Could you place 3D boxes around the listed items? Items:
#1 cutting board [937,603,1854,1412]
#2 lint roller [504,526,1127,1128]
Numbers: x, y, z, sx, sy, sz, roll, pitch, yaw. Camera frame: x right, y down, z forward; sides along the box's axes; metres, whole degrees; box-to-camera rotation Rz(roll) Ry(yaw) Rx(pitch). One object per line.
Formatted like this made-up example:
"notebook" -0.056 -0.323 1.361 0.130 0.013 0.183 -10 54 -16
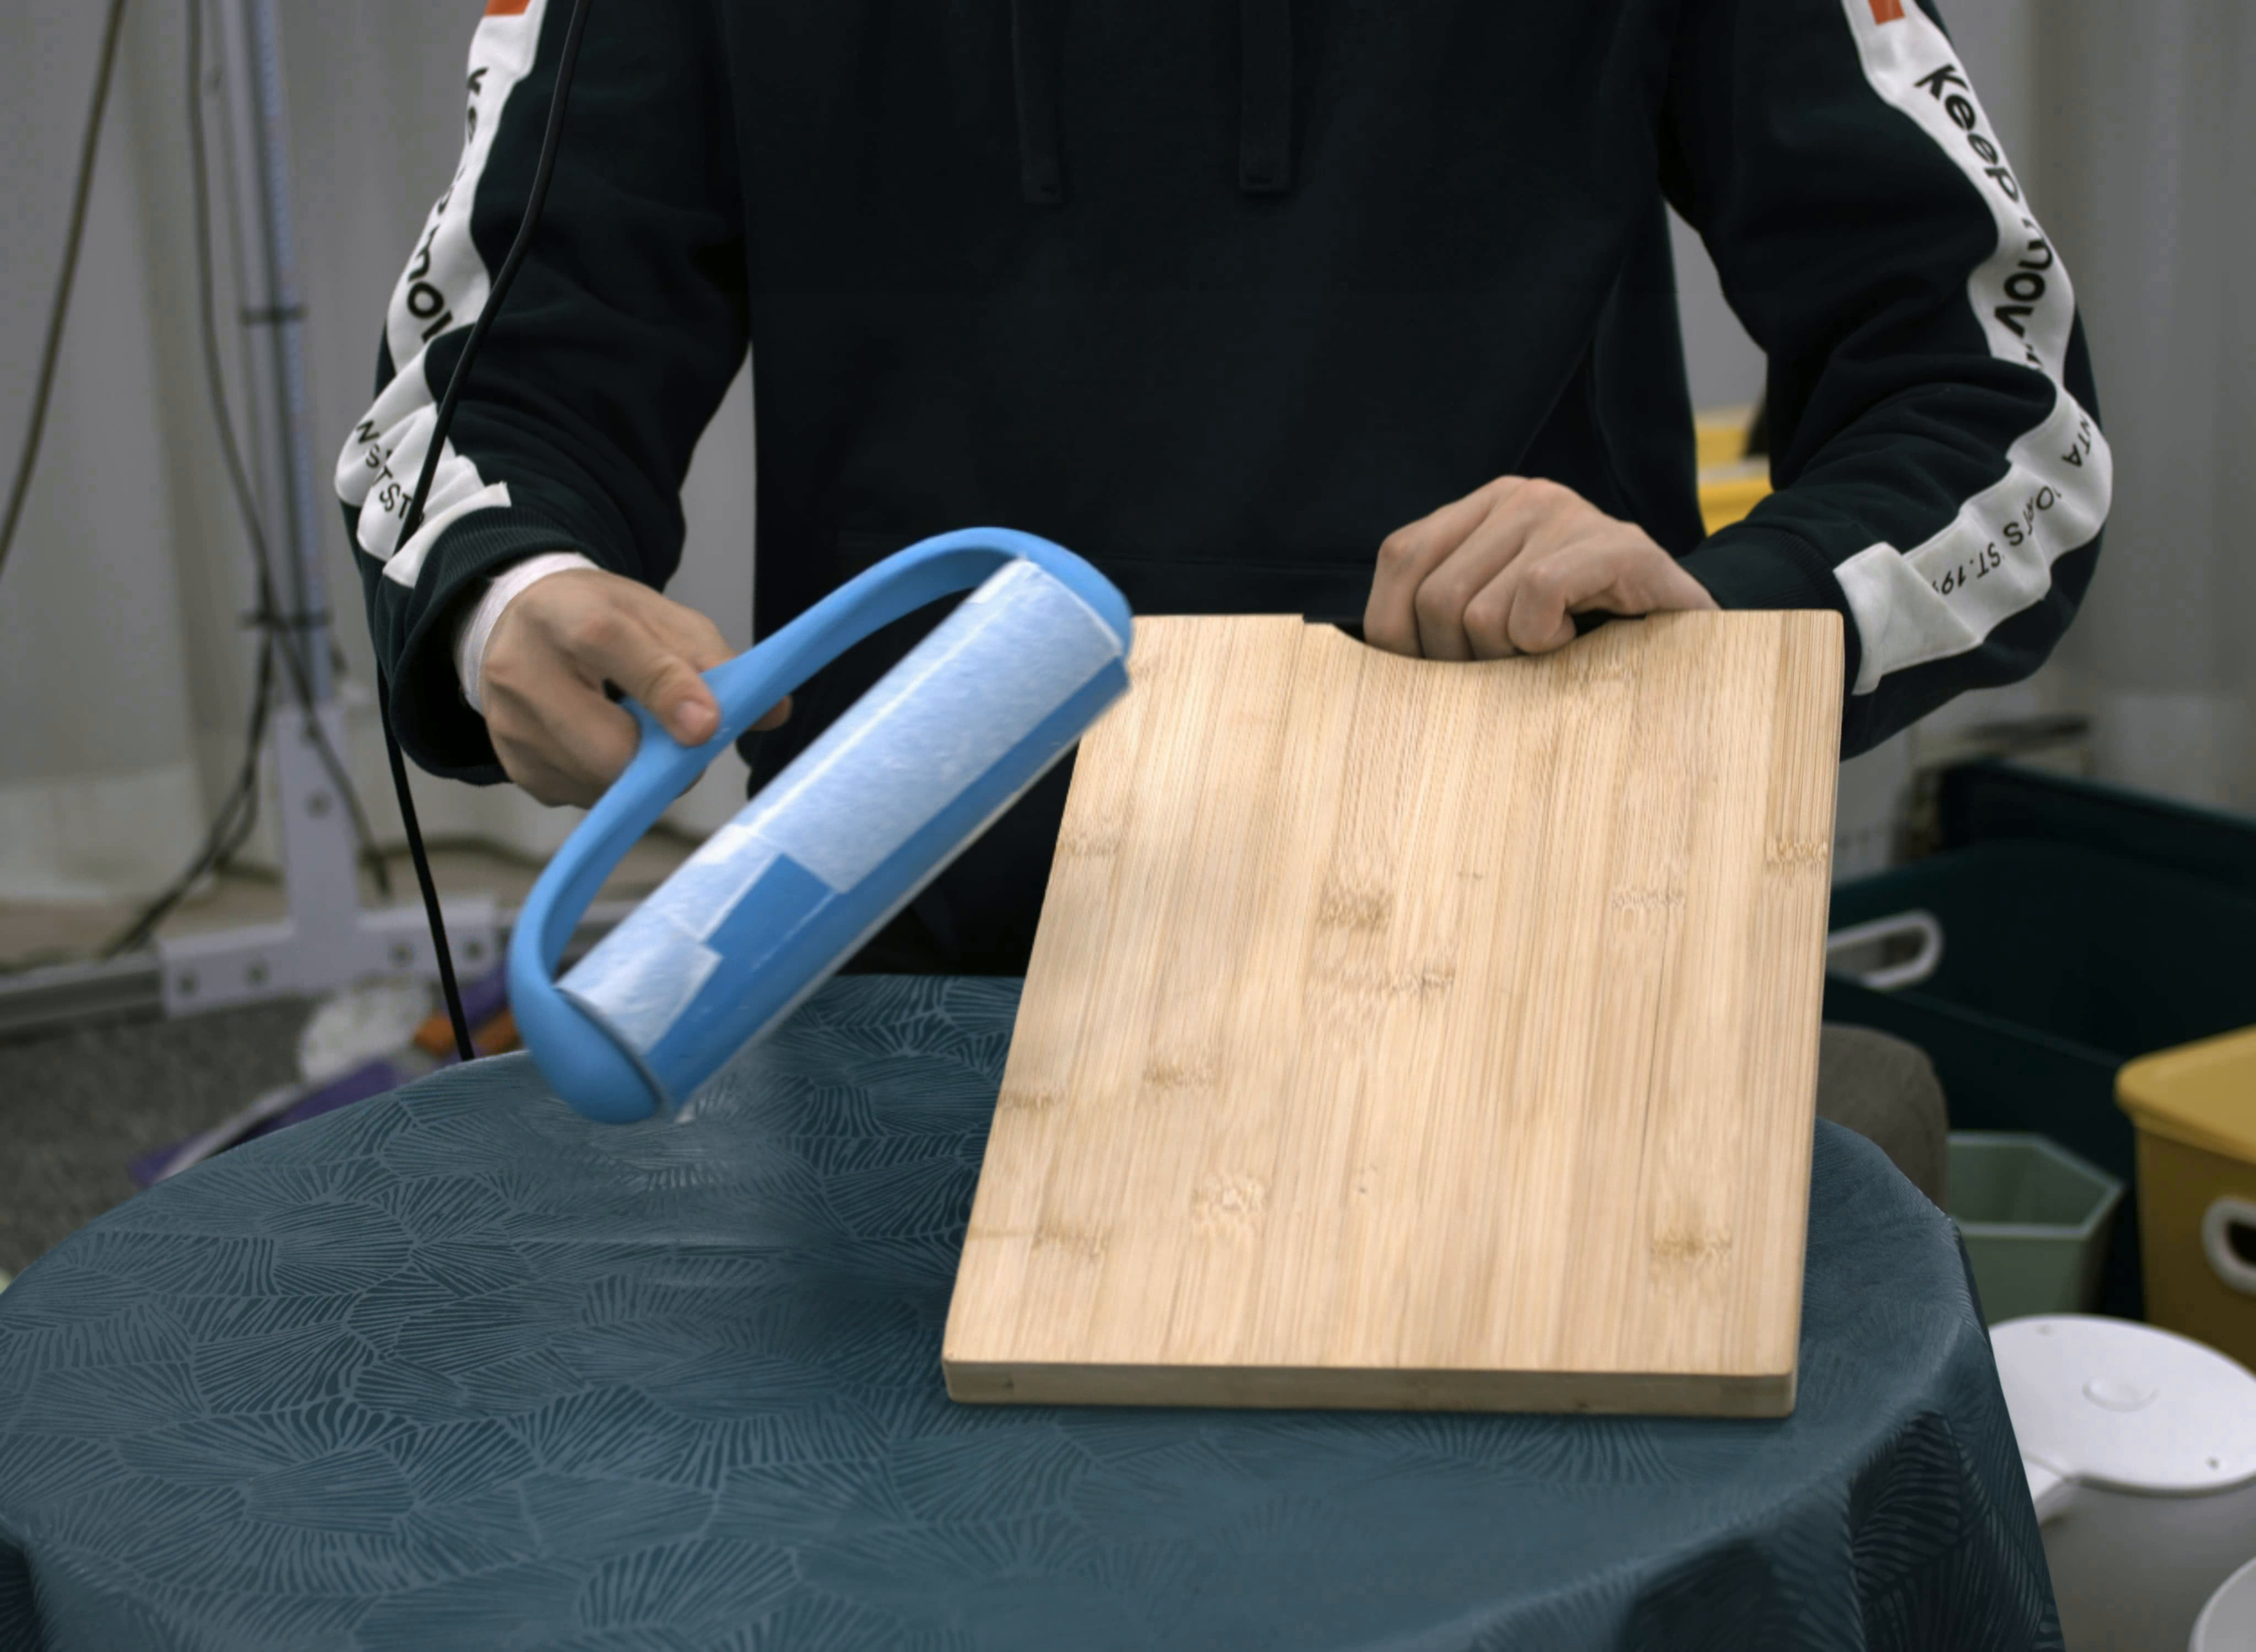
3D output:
"cutting board" 0.090 0.046 1.647 0.250 0.023 0.353 -1 39 10
"lint roller" -0.123 -0.012 1.650 0.230 0.067 0.182 -47 39 -19
